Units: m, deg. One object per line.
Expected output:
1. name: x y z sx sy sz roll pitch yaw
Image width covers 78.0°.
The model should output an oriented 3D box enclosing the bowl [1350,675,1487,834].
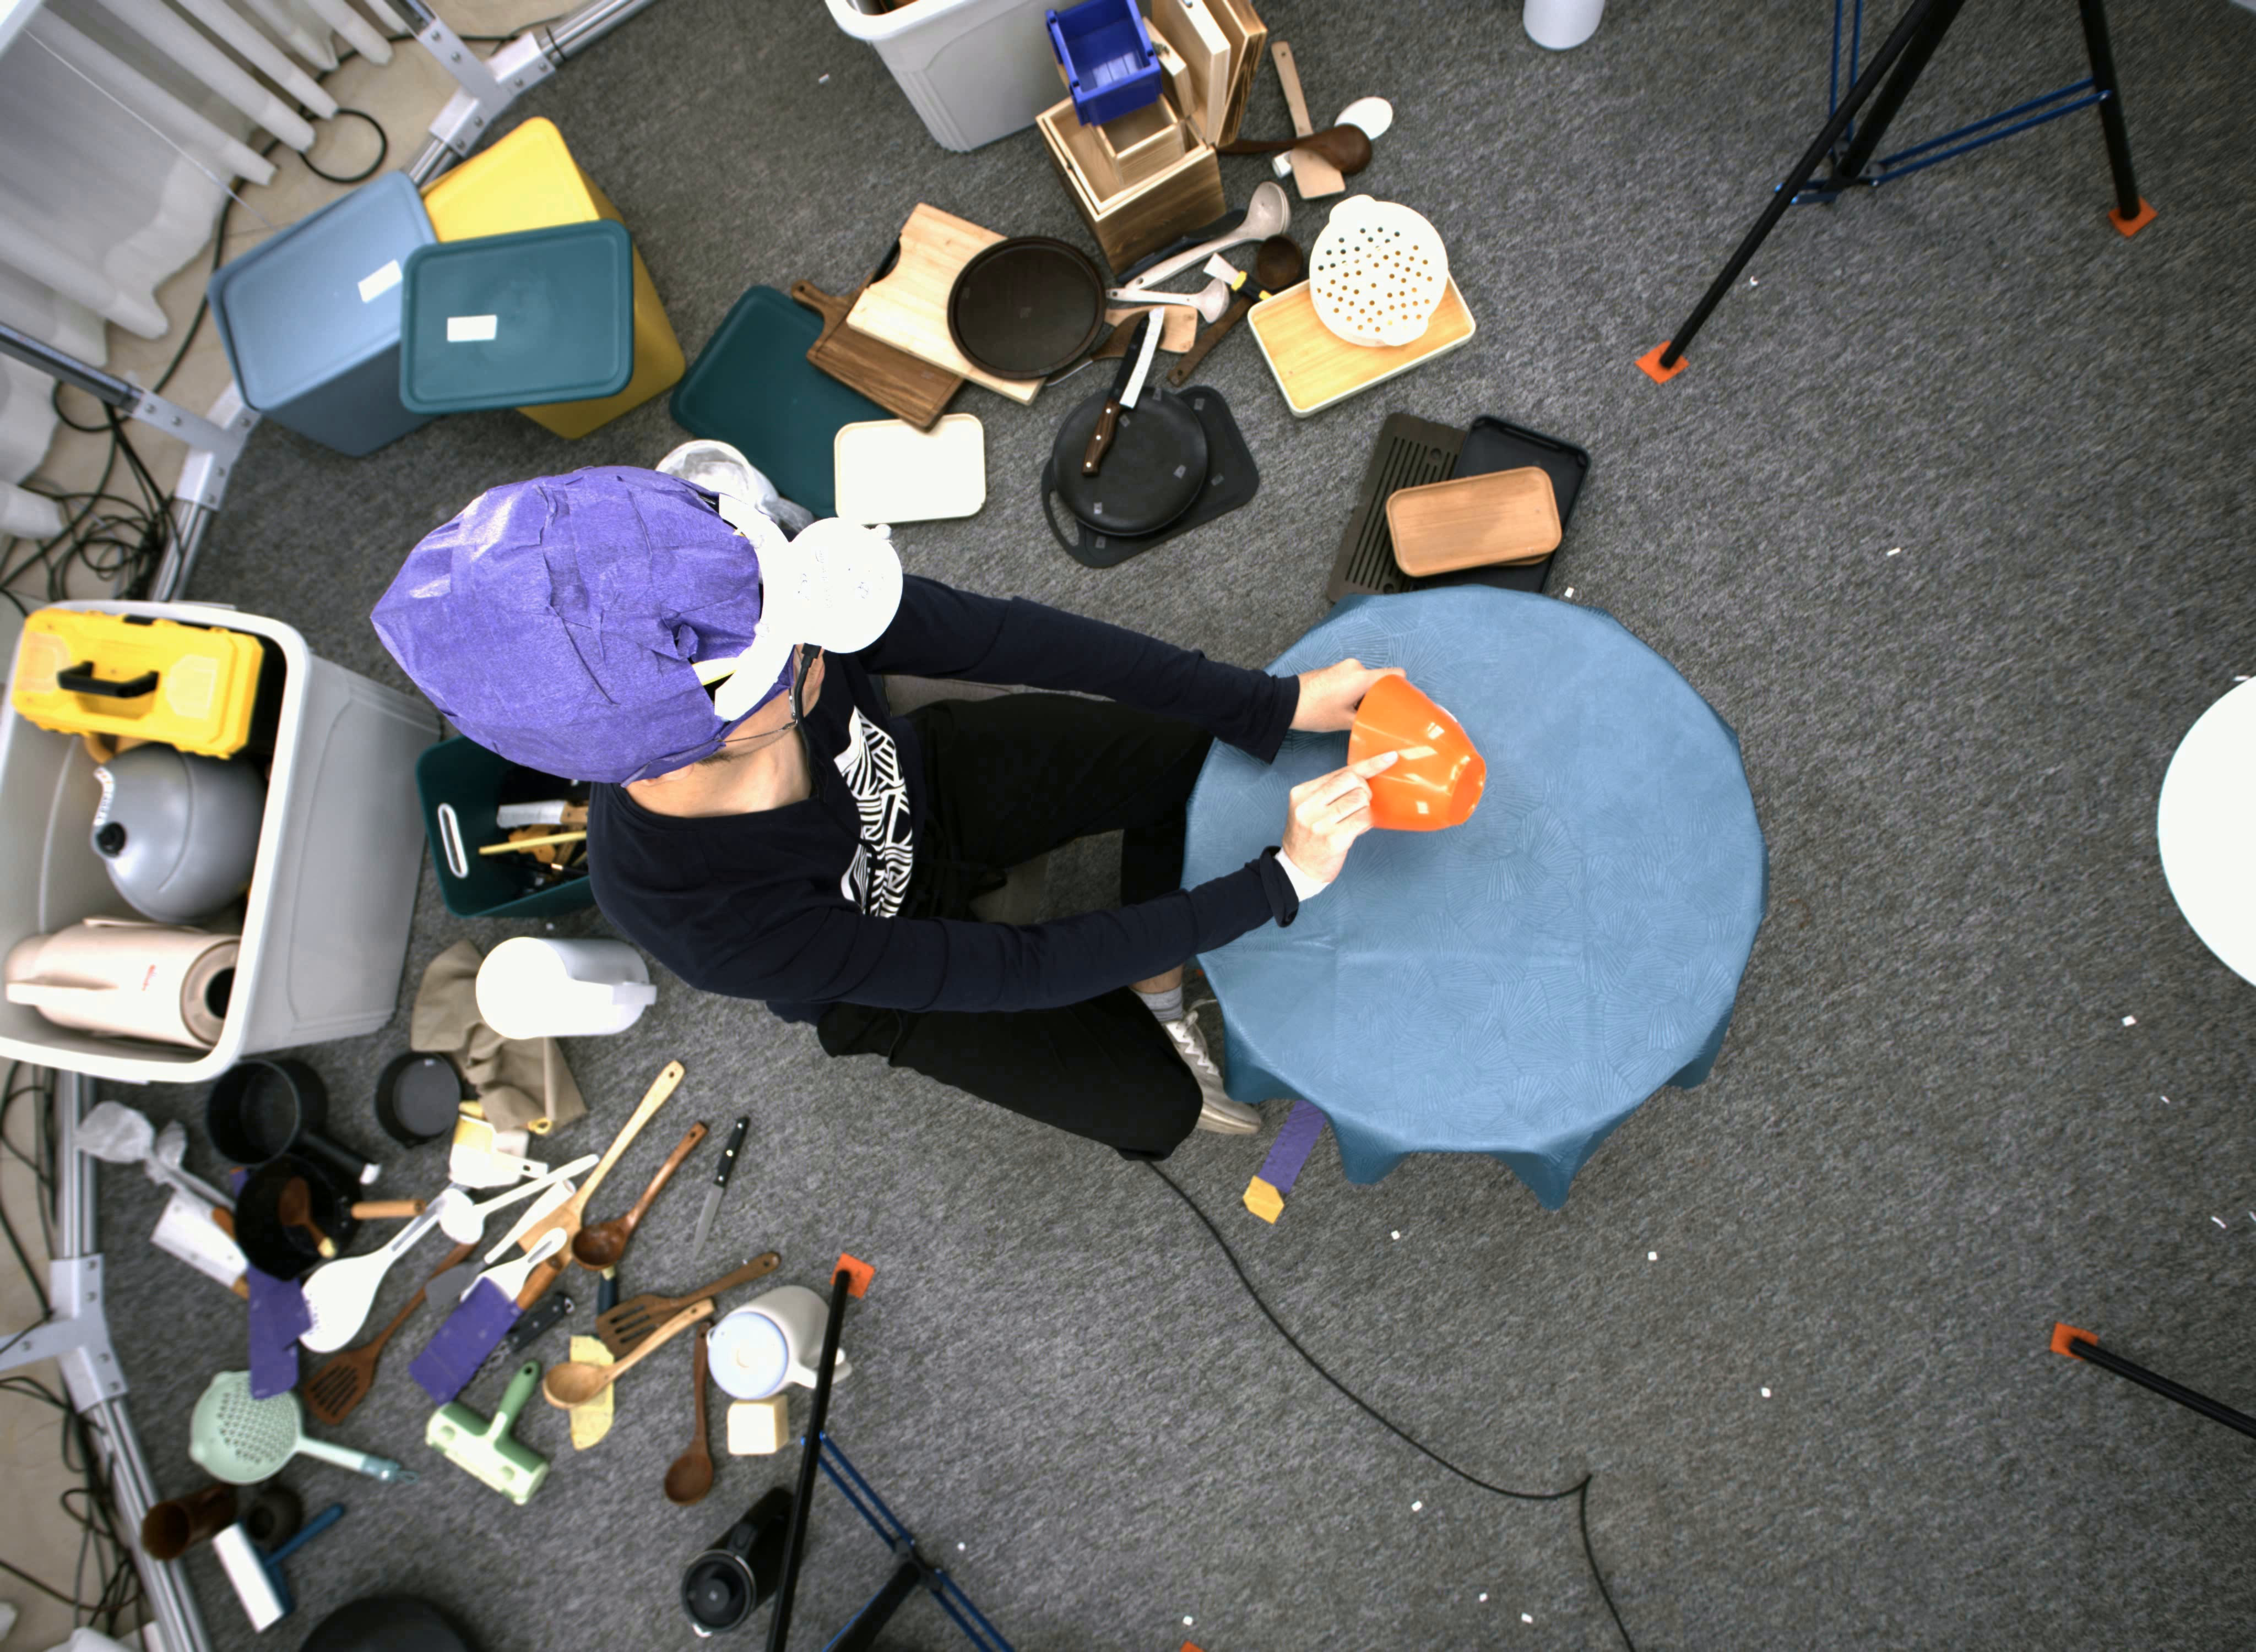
1. bowl: 0.279 -0.059 1.293 0.104 0.148 0.148 23 89 33

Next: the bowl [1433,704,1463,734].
1. bowl: 0.294 -0.072 1.436 0.119 0.051 0.118 -1 87 8
